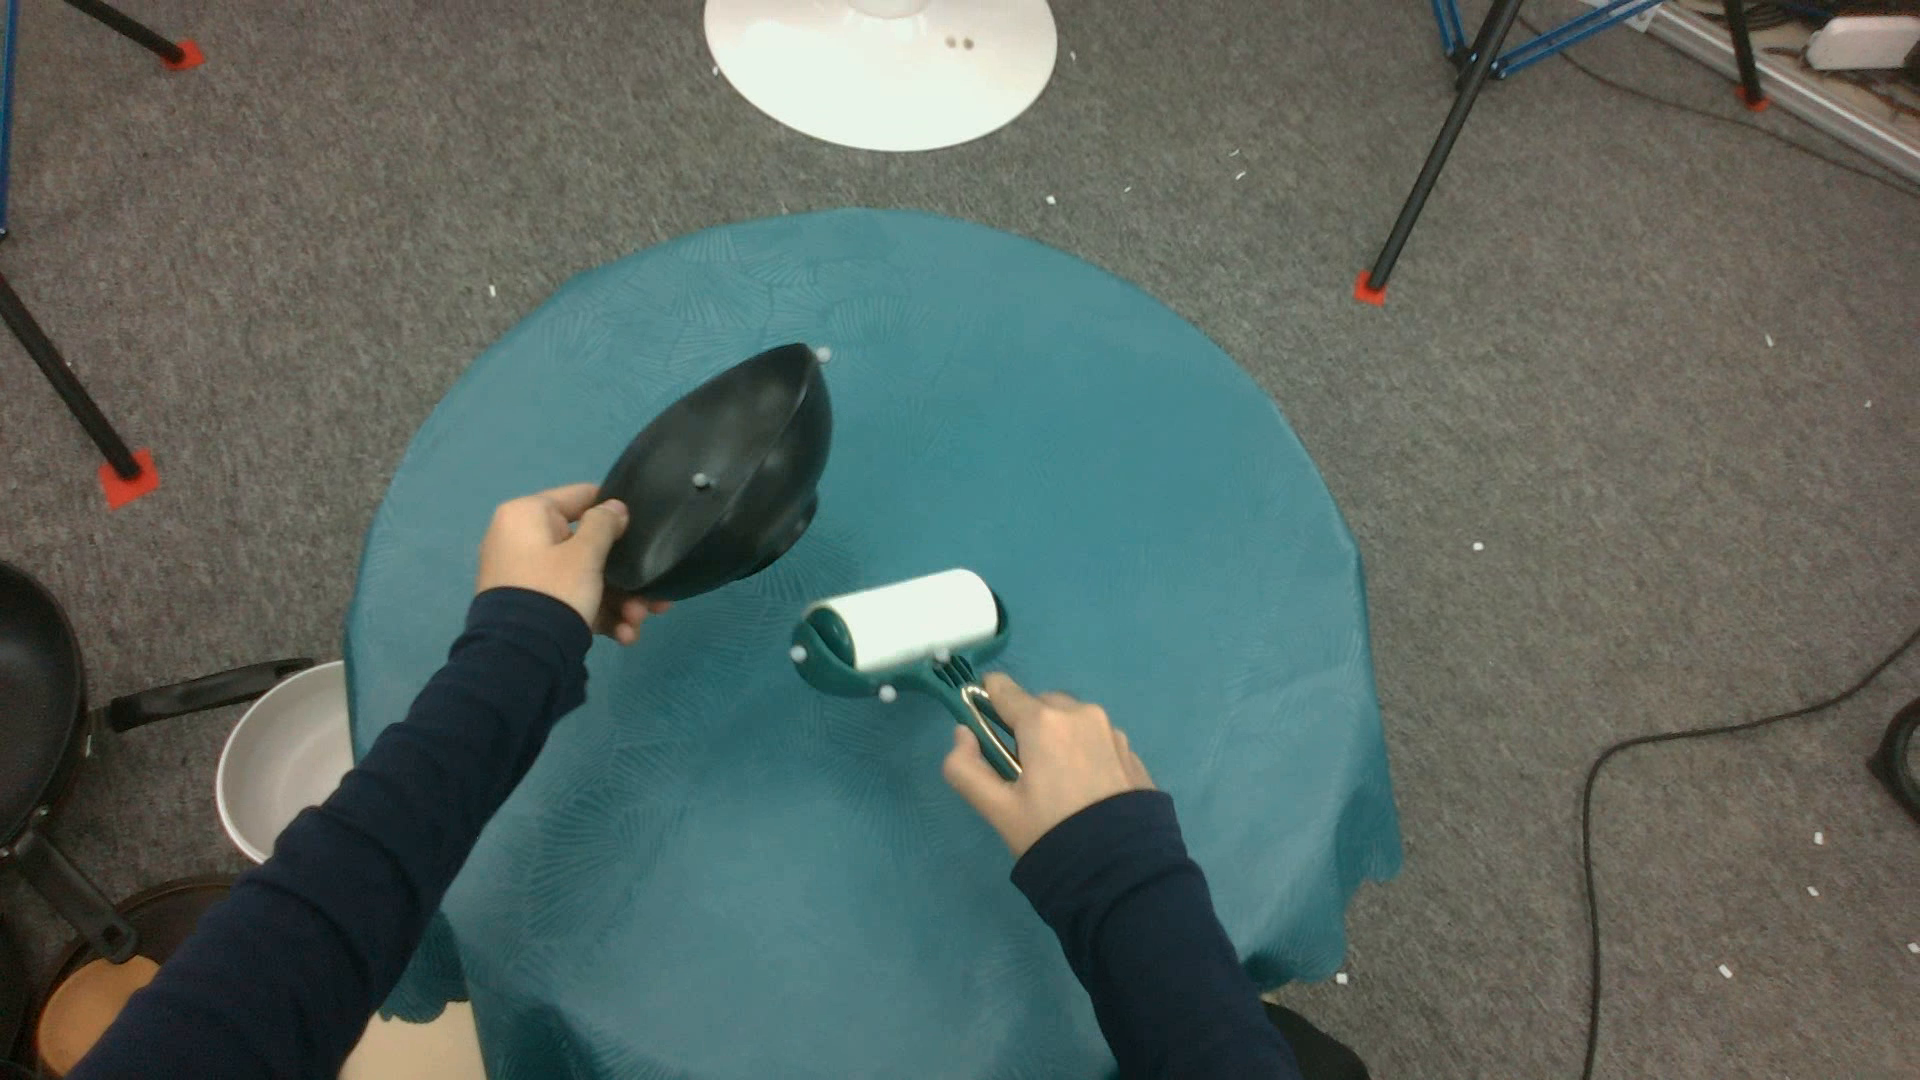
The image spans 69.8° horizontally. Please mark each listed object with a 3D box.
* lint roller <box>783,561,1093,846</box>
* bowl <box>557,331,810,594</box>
[{"bbox_3d":[0.008,0.079,0.694,0.135,0.048,0.180,-12,41,-42],"label":"lint roller"},{"bbox_3d":[-0.130,-0.032,0.709,0.137,0.066,0.171,-12,43,30],"label":"bowl"}]
